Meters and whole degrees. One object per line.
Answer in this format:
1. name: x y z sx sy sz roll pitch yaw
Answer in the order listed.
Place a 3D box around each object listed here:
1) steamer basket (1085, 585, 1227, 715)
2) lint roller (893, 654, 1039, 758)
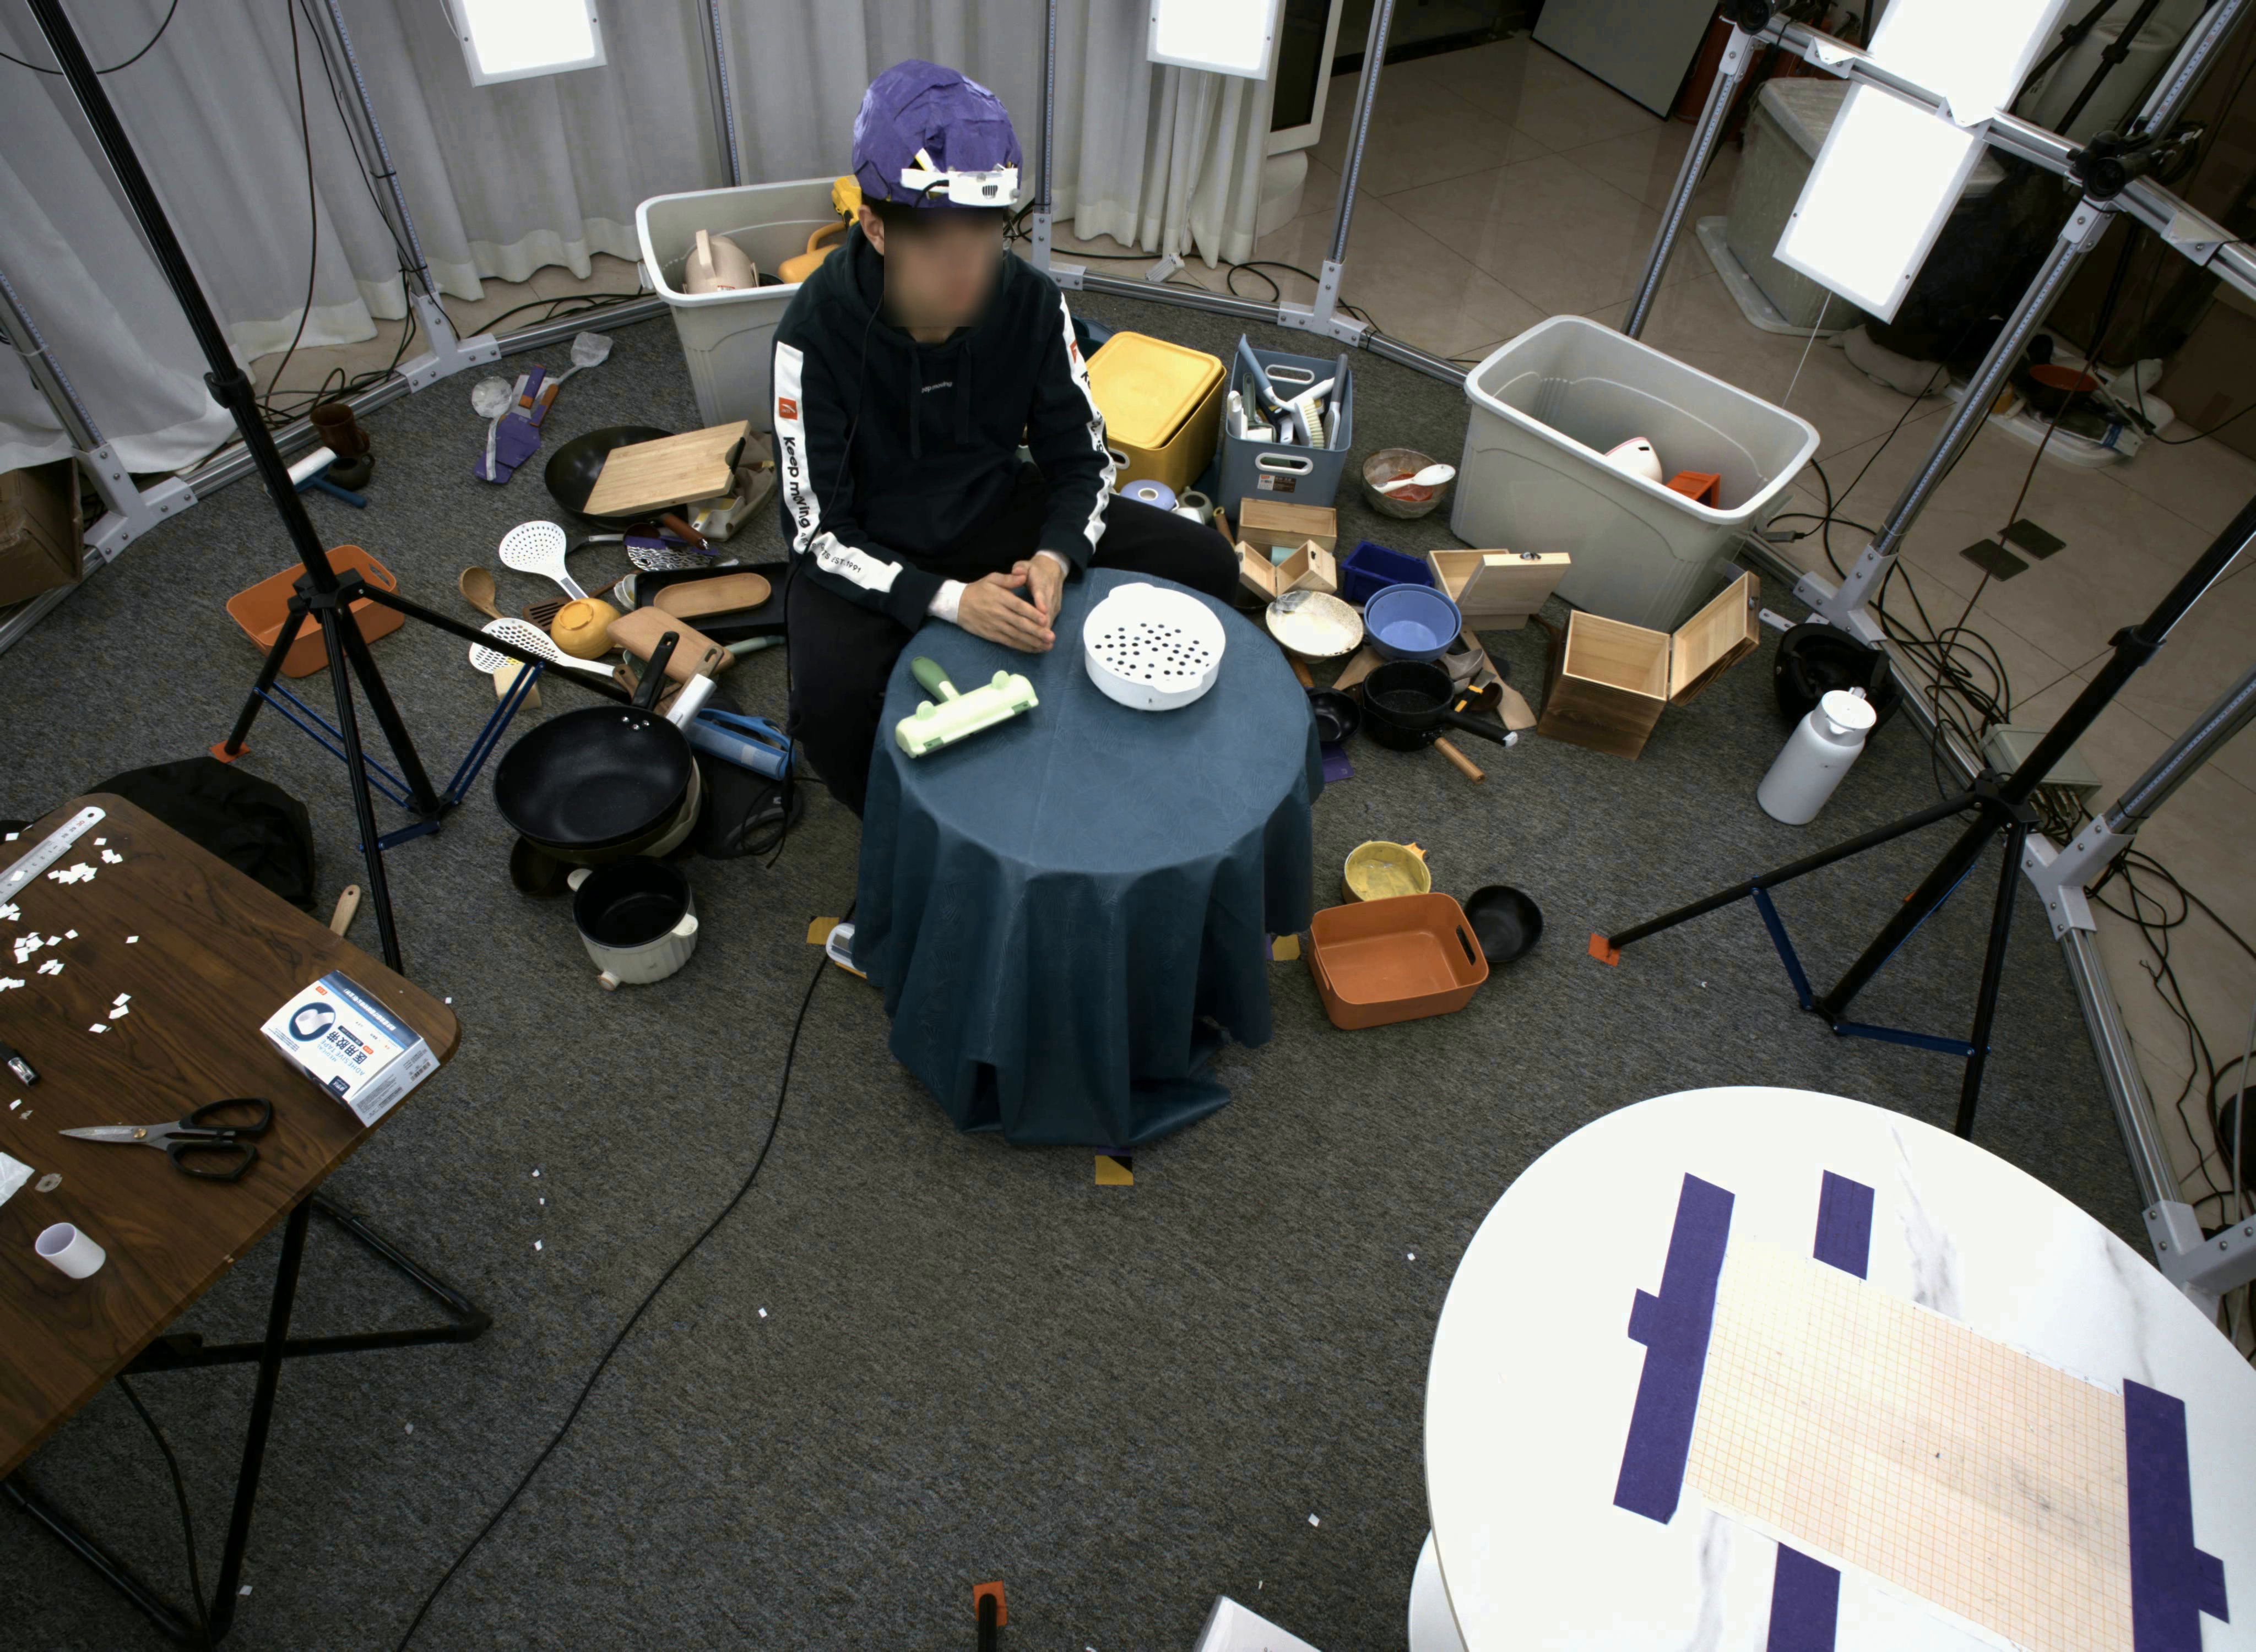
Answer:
1. steamer basket: 0.039 -0.249 1.842 0.202 0.067 0.236 -14 53 -15
2. lint roller: -0.249 -0.194 1.770 0.199 0.080 0.187 -25 59 -23
